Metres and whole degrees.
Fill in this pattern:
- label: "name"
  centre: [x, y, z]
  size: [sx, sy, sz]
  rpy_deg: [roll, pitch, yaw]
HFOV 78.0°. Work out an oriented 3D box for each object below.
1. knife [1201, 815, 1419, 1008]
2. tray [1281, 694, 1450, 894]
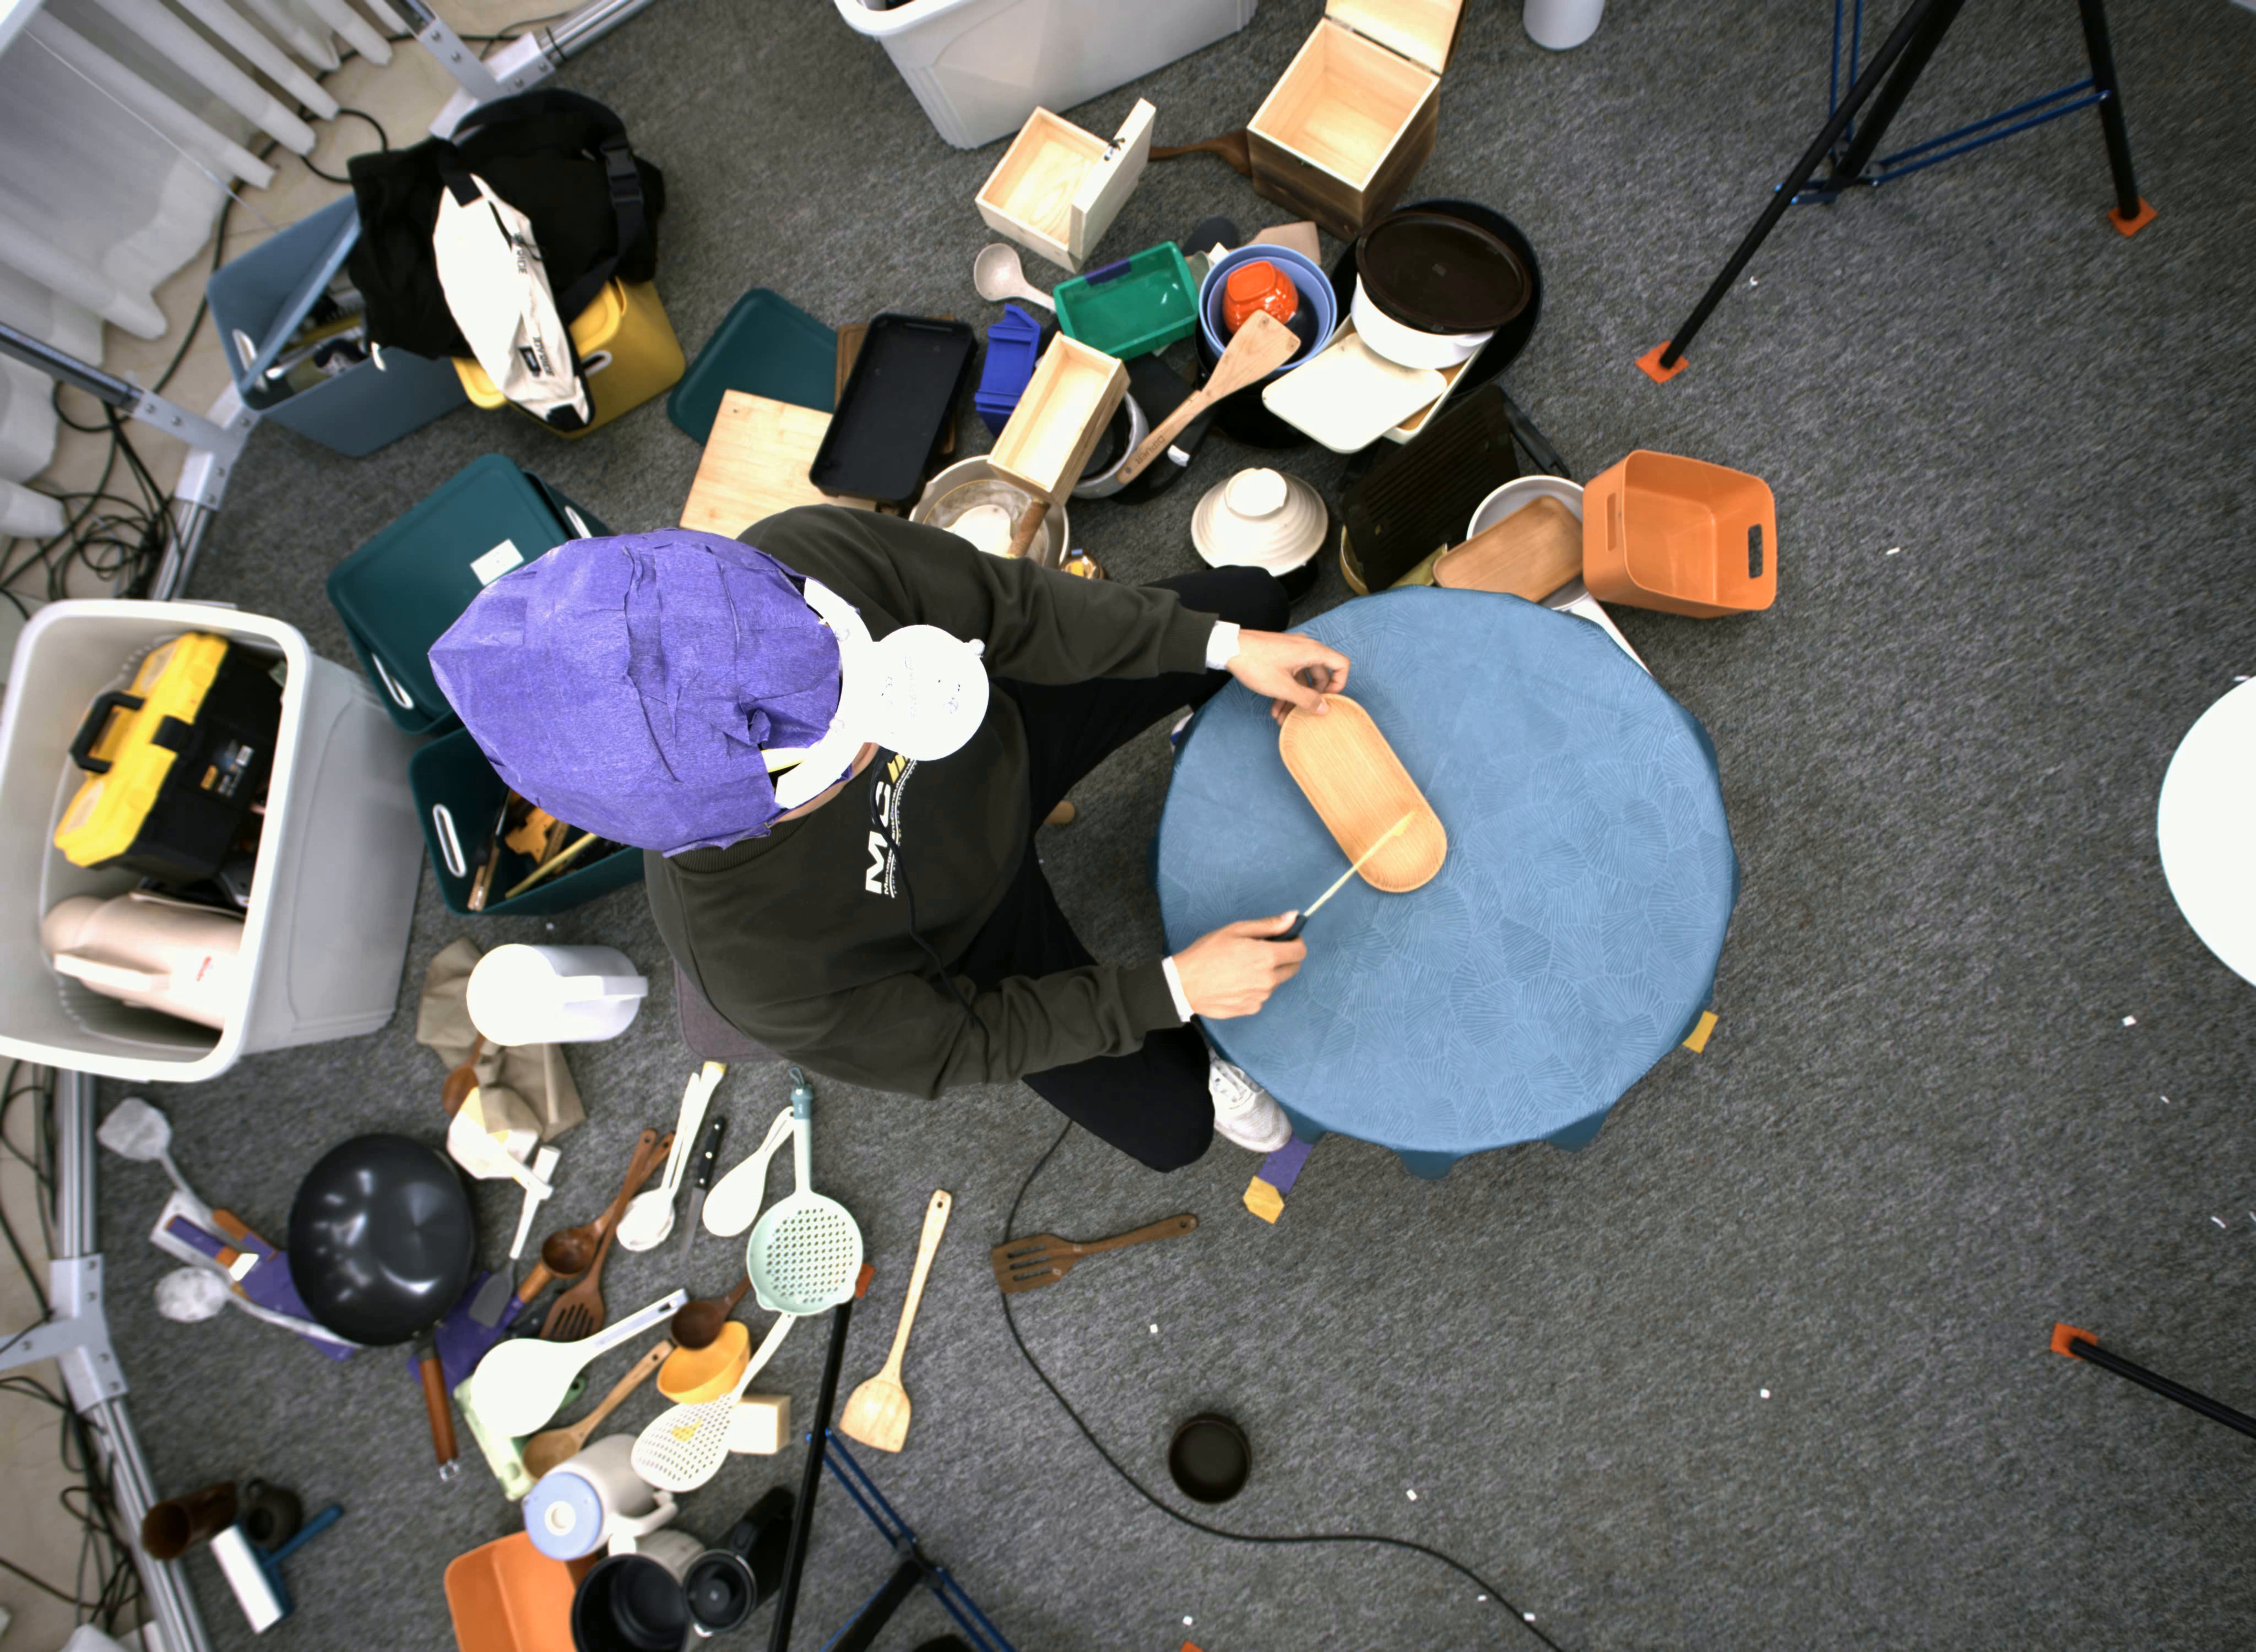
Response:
- label: "knife"
  centre: [0.187, 0.083, 1.404]
  size: [0.290, 0.081, 0.027]
  rpy_deg: [-42, 78, 5]
- label: "tray"
  centre: [0.247, -0.034, 1.434]
  size: [0.103, 0.020, 0.232]
  rpy_deg: [-34, 98, 15]
